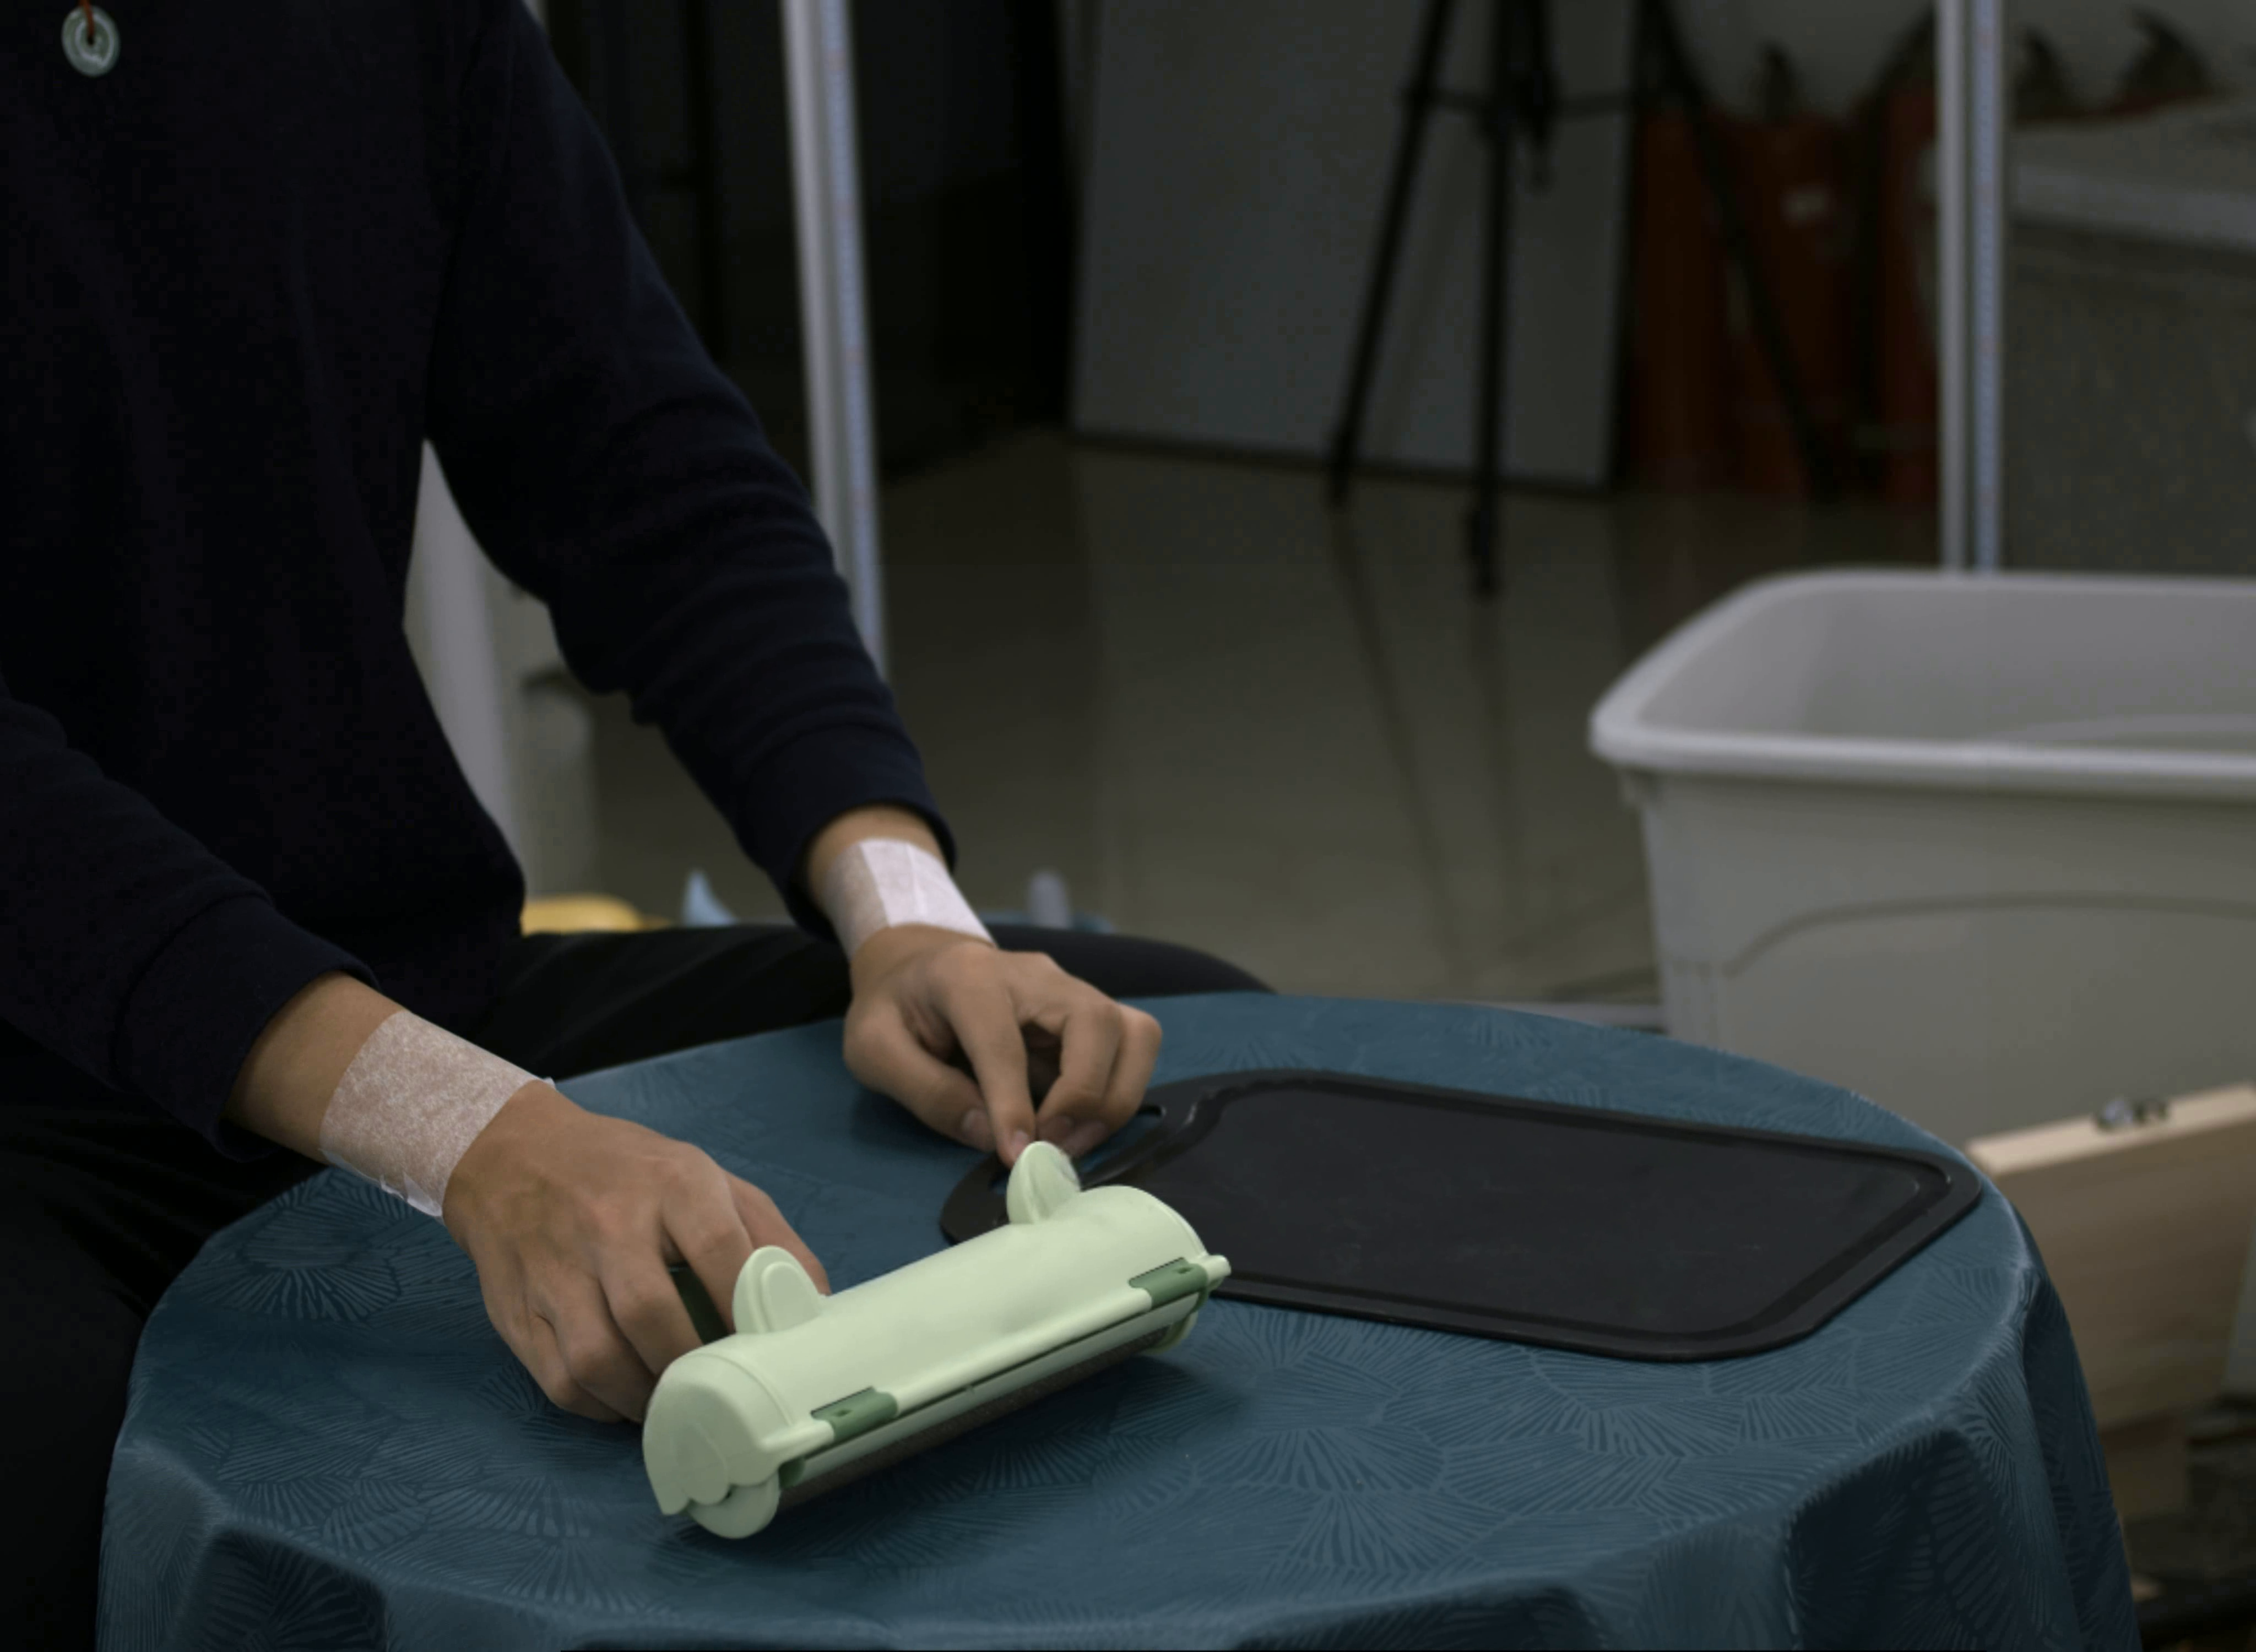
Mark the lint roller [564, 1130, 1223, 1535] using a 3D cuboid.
[{"bbox_3d":[-0.098,0.131,1.577,0.185,0.083,0.195,16,22,38],"label":"lint roller"}]

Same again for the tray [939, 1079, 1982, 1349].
[{"bbox_3d":[0.098,0.120,1.732,0.327,0.010,0.207,5,16,33],"label":"tray"}]
